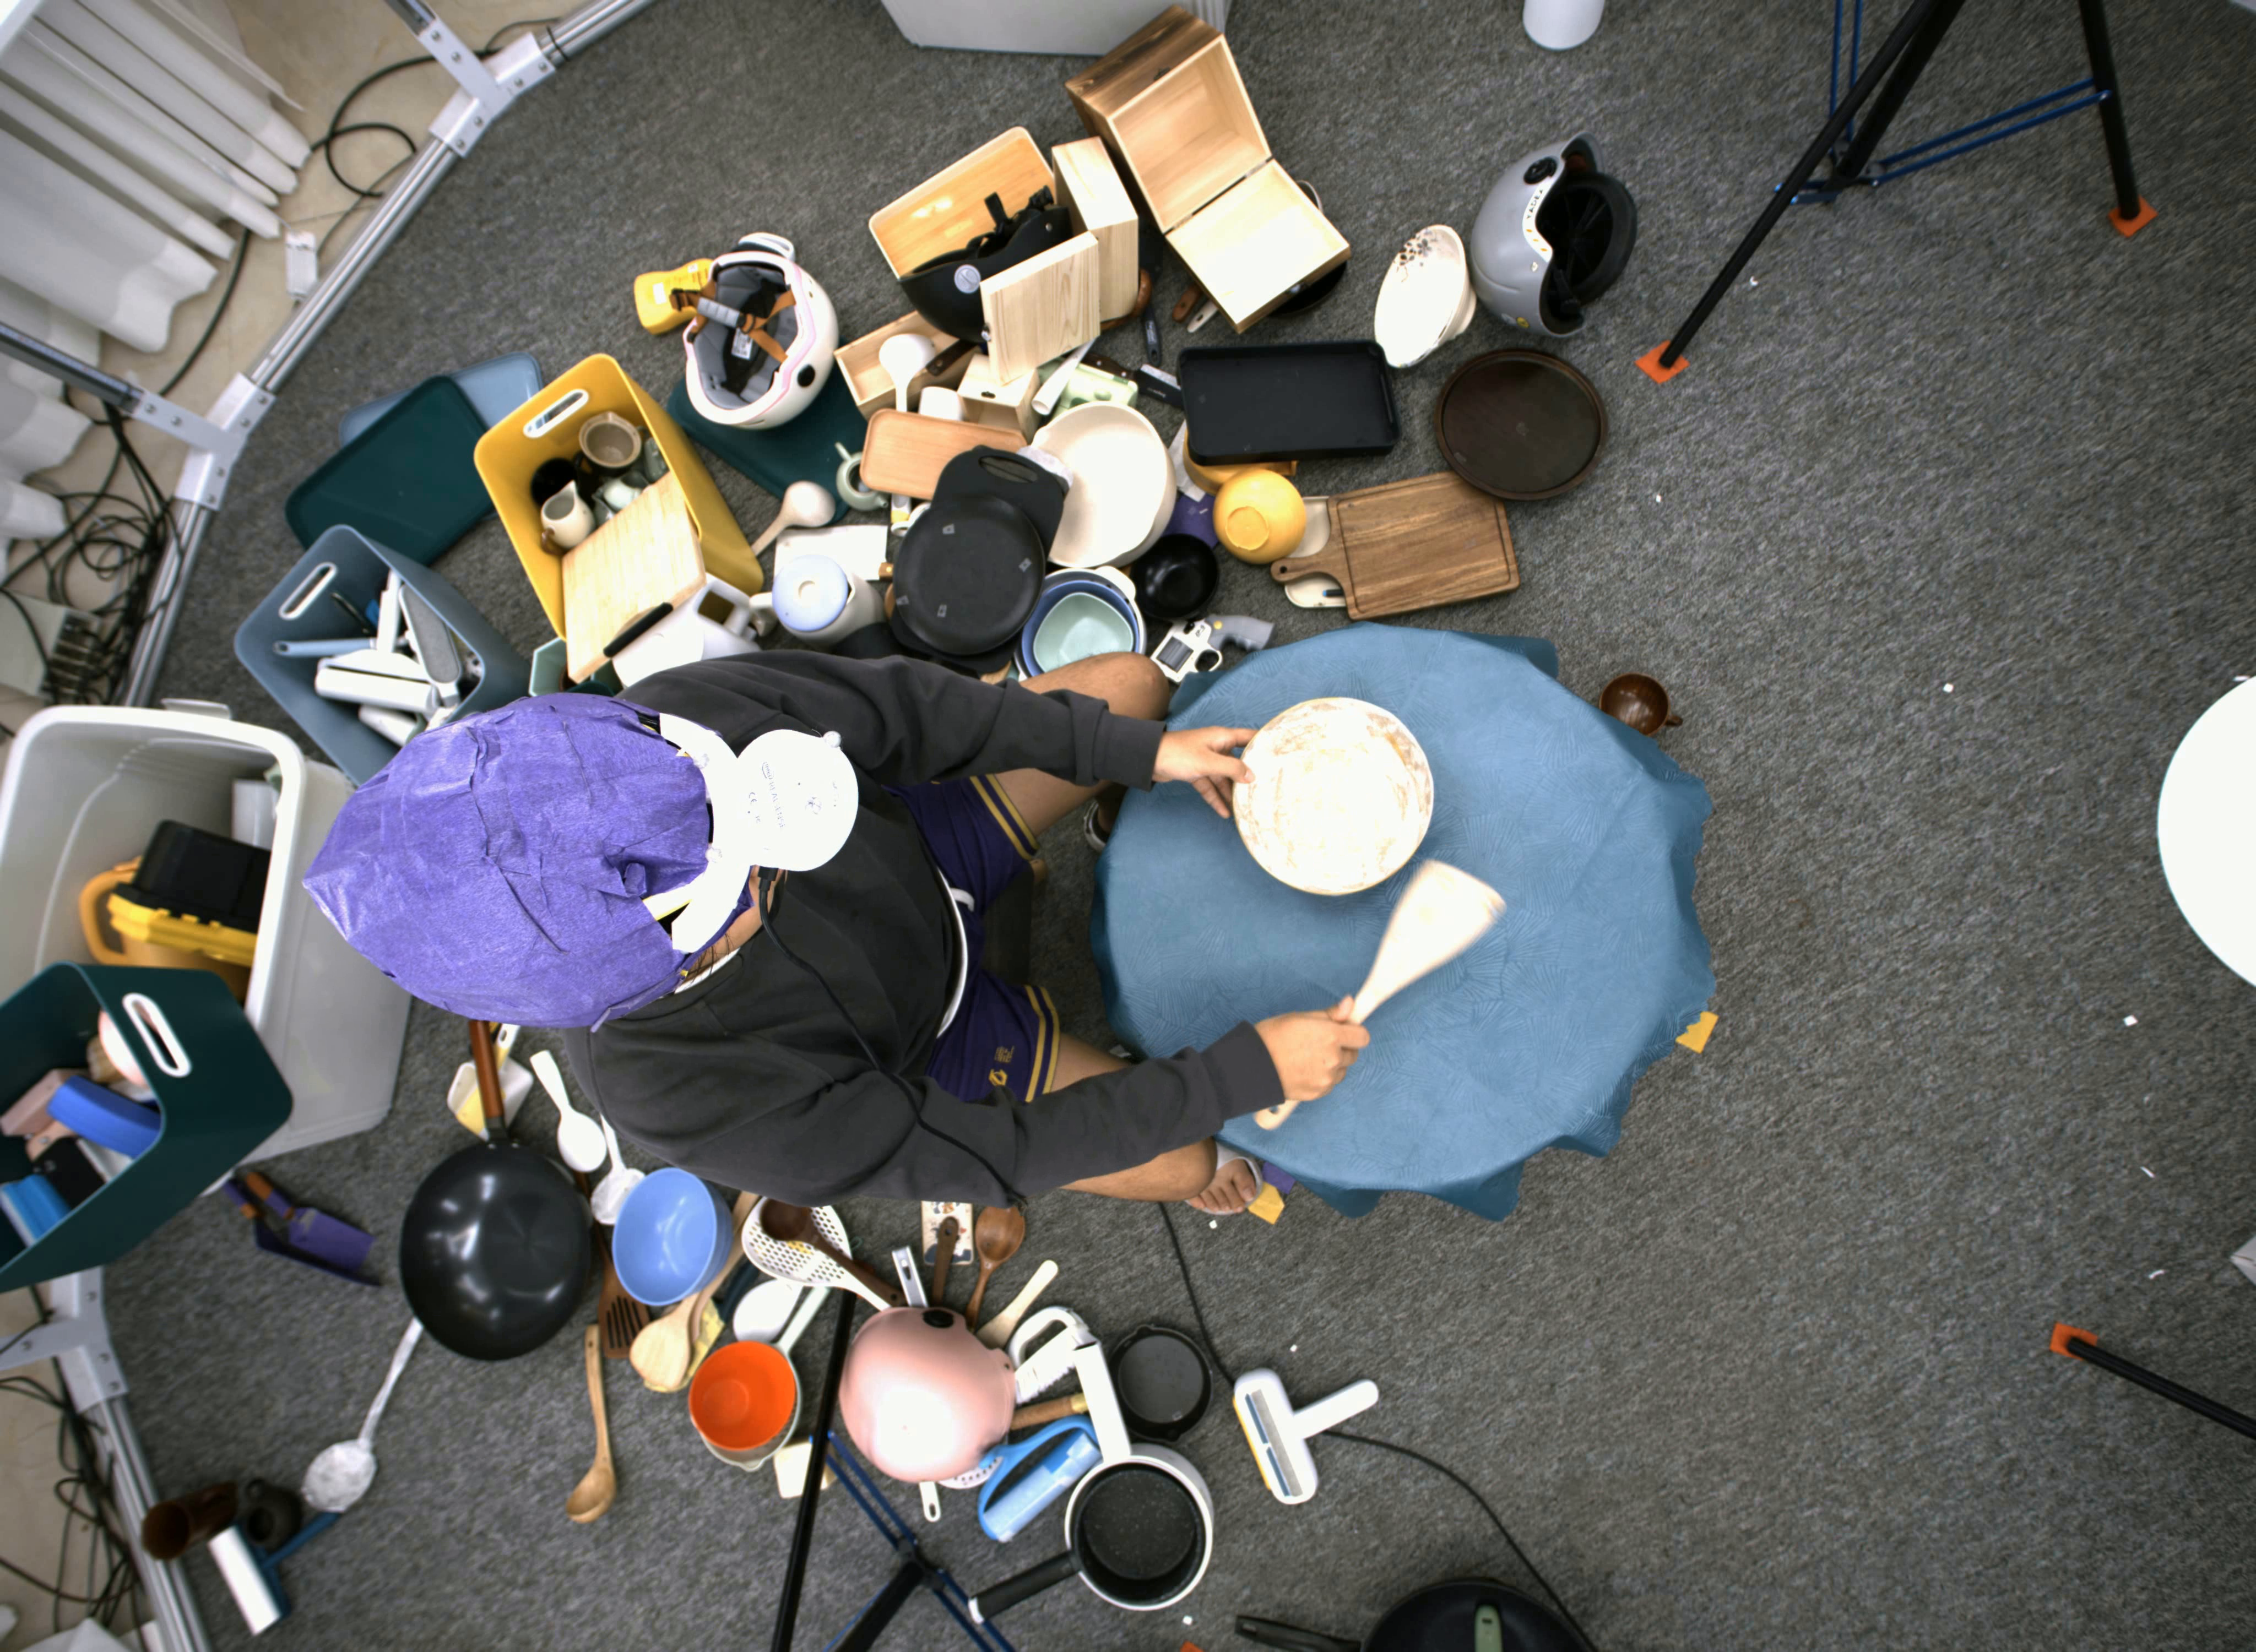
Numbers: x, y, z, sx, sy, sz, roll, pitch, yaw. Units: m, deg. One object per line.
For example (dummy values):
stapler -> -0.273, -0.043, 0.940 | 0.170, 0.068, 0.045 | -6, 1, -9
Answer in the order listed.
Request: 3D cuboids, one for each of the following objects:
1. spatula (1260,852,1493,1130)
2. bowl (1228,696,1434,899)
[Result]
spatula -> 0.229, 0.165, 1.348 | 0.080, 0.016, 0.330 | 34, 100, -2
bowl -> 0.205, -0.030, 1.425 | 0.215, 0.094, 0.215 | 0, 92, 6
